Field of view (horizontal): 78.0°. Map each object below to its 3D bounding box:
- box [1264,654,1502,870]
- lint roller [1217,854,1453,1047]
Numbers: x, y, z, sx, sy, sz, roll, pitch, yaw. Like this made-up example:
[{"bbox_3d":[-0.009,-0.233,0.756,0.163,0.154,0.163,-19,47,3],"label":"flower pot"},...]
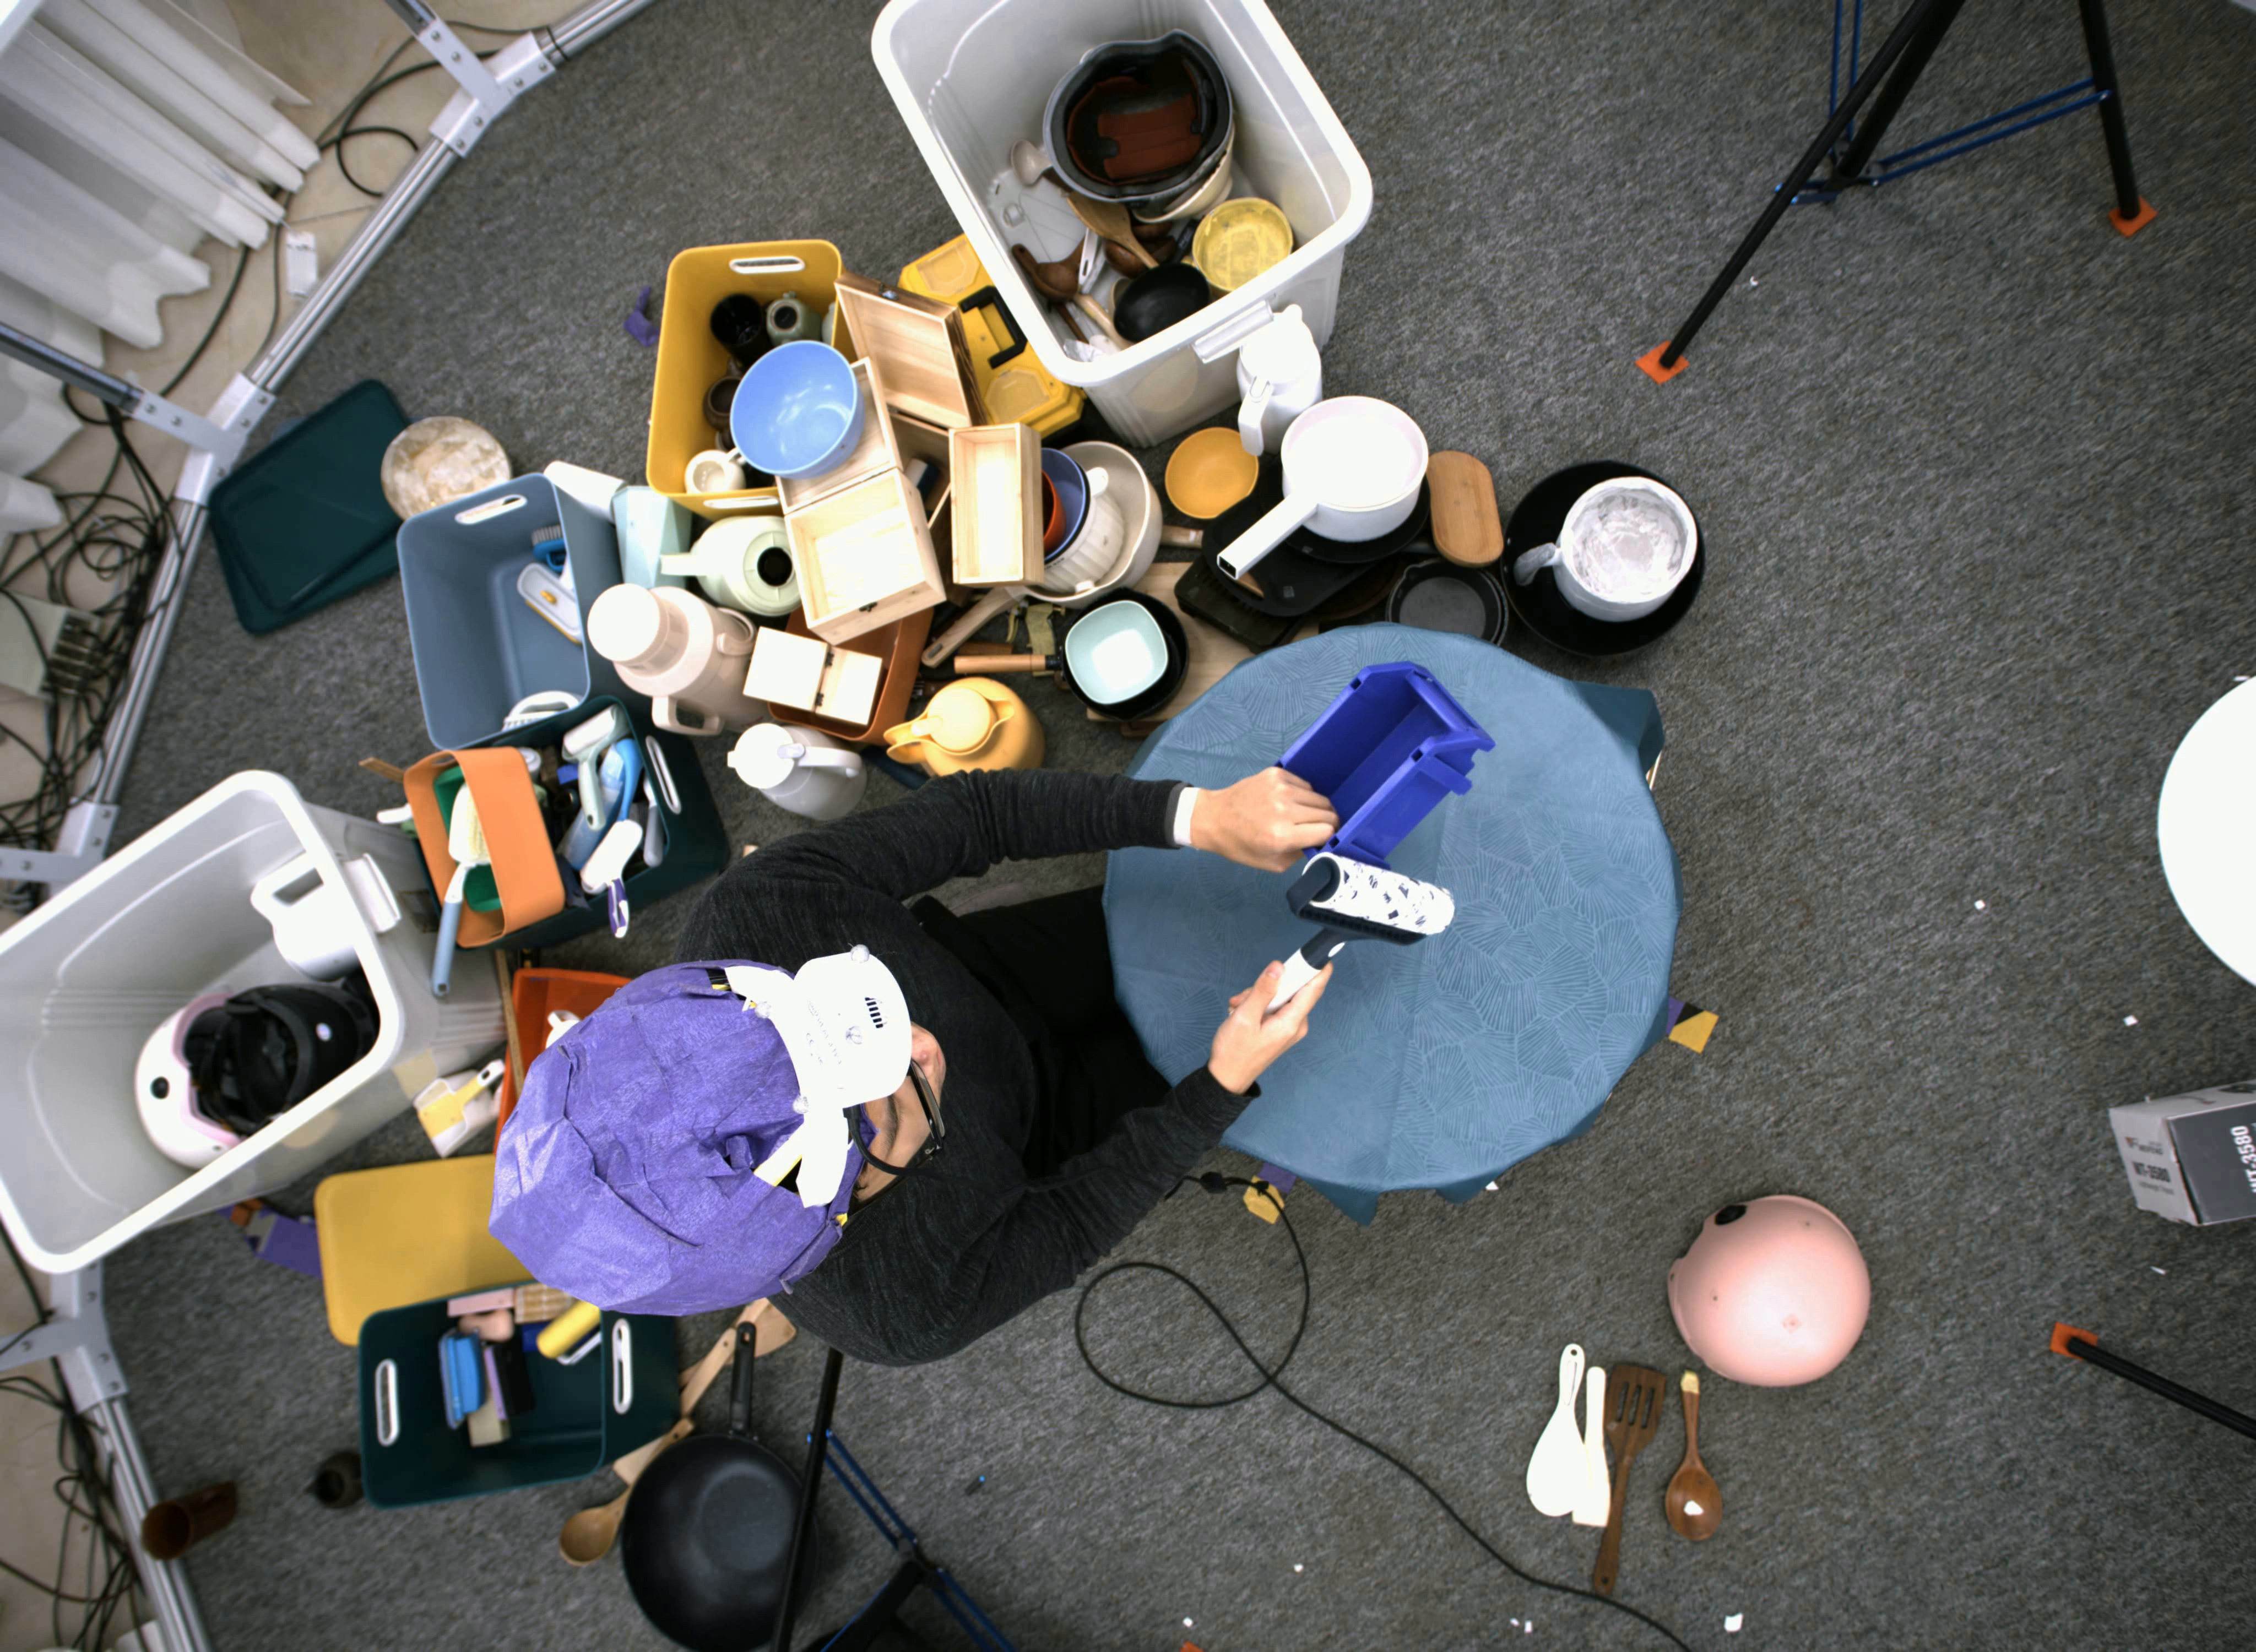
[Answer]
[{"bbox_3d":[0.228,-0.060,1.233,0.182,0.082,0.122,-49,45,22],"label":"box"},{"bbox_3d":[0.167,0.129,1.274,0.252,0.176,0.049,-50,46,29],"label":"lint roller"}]
